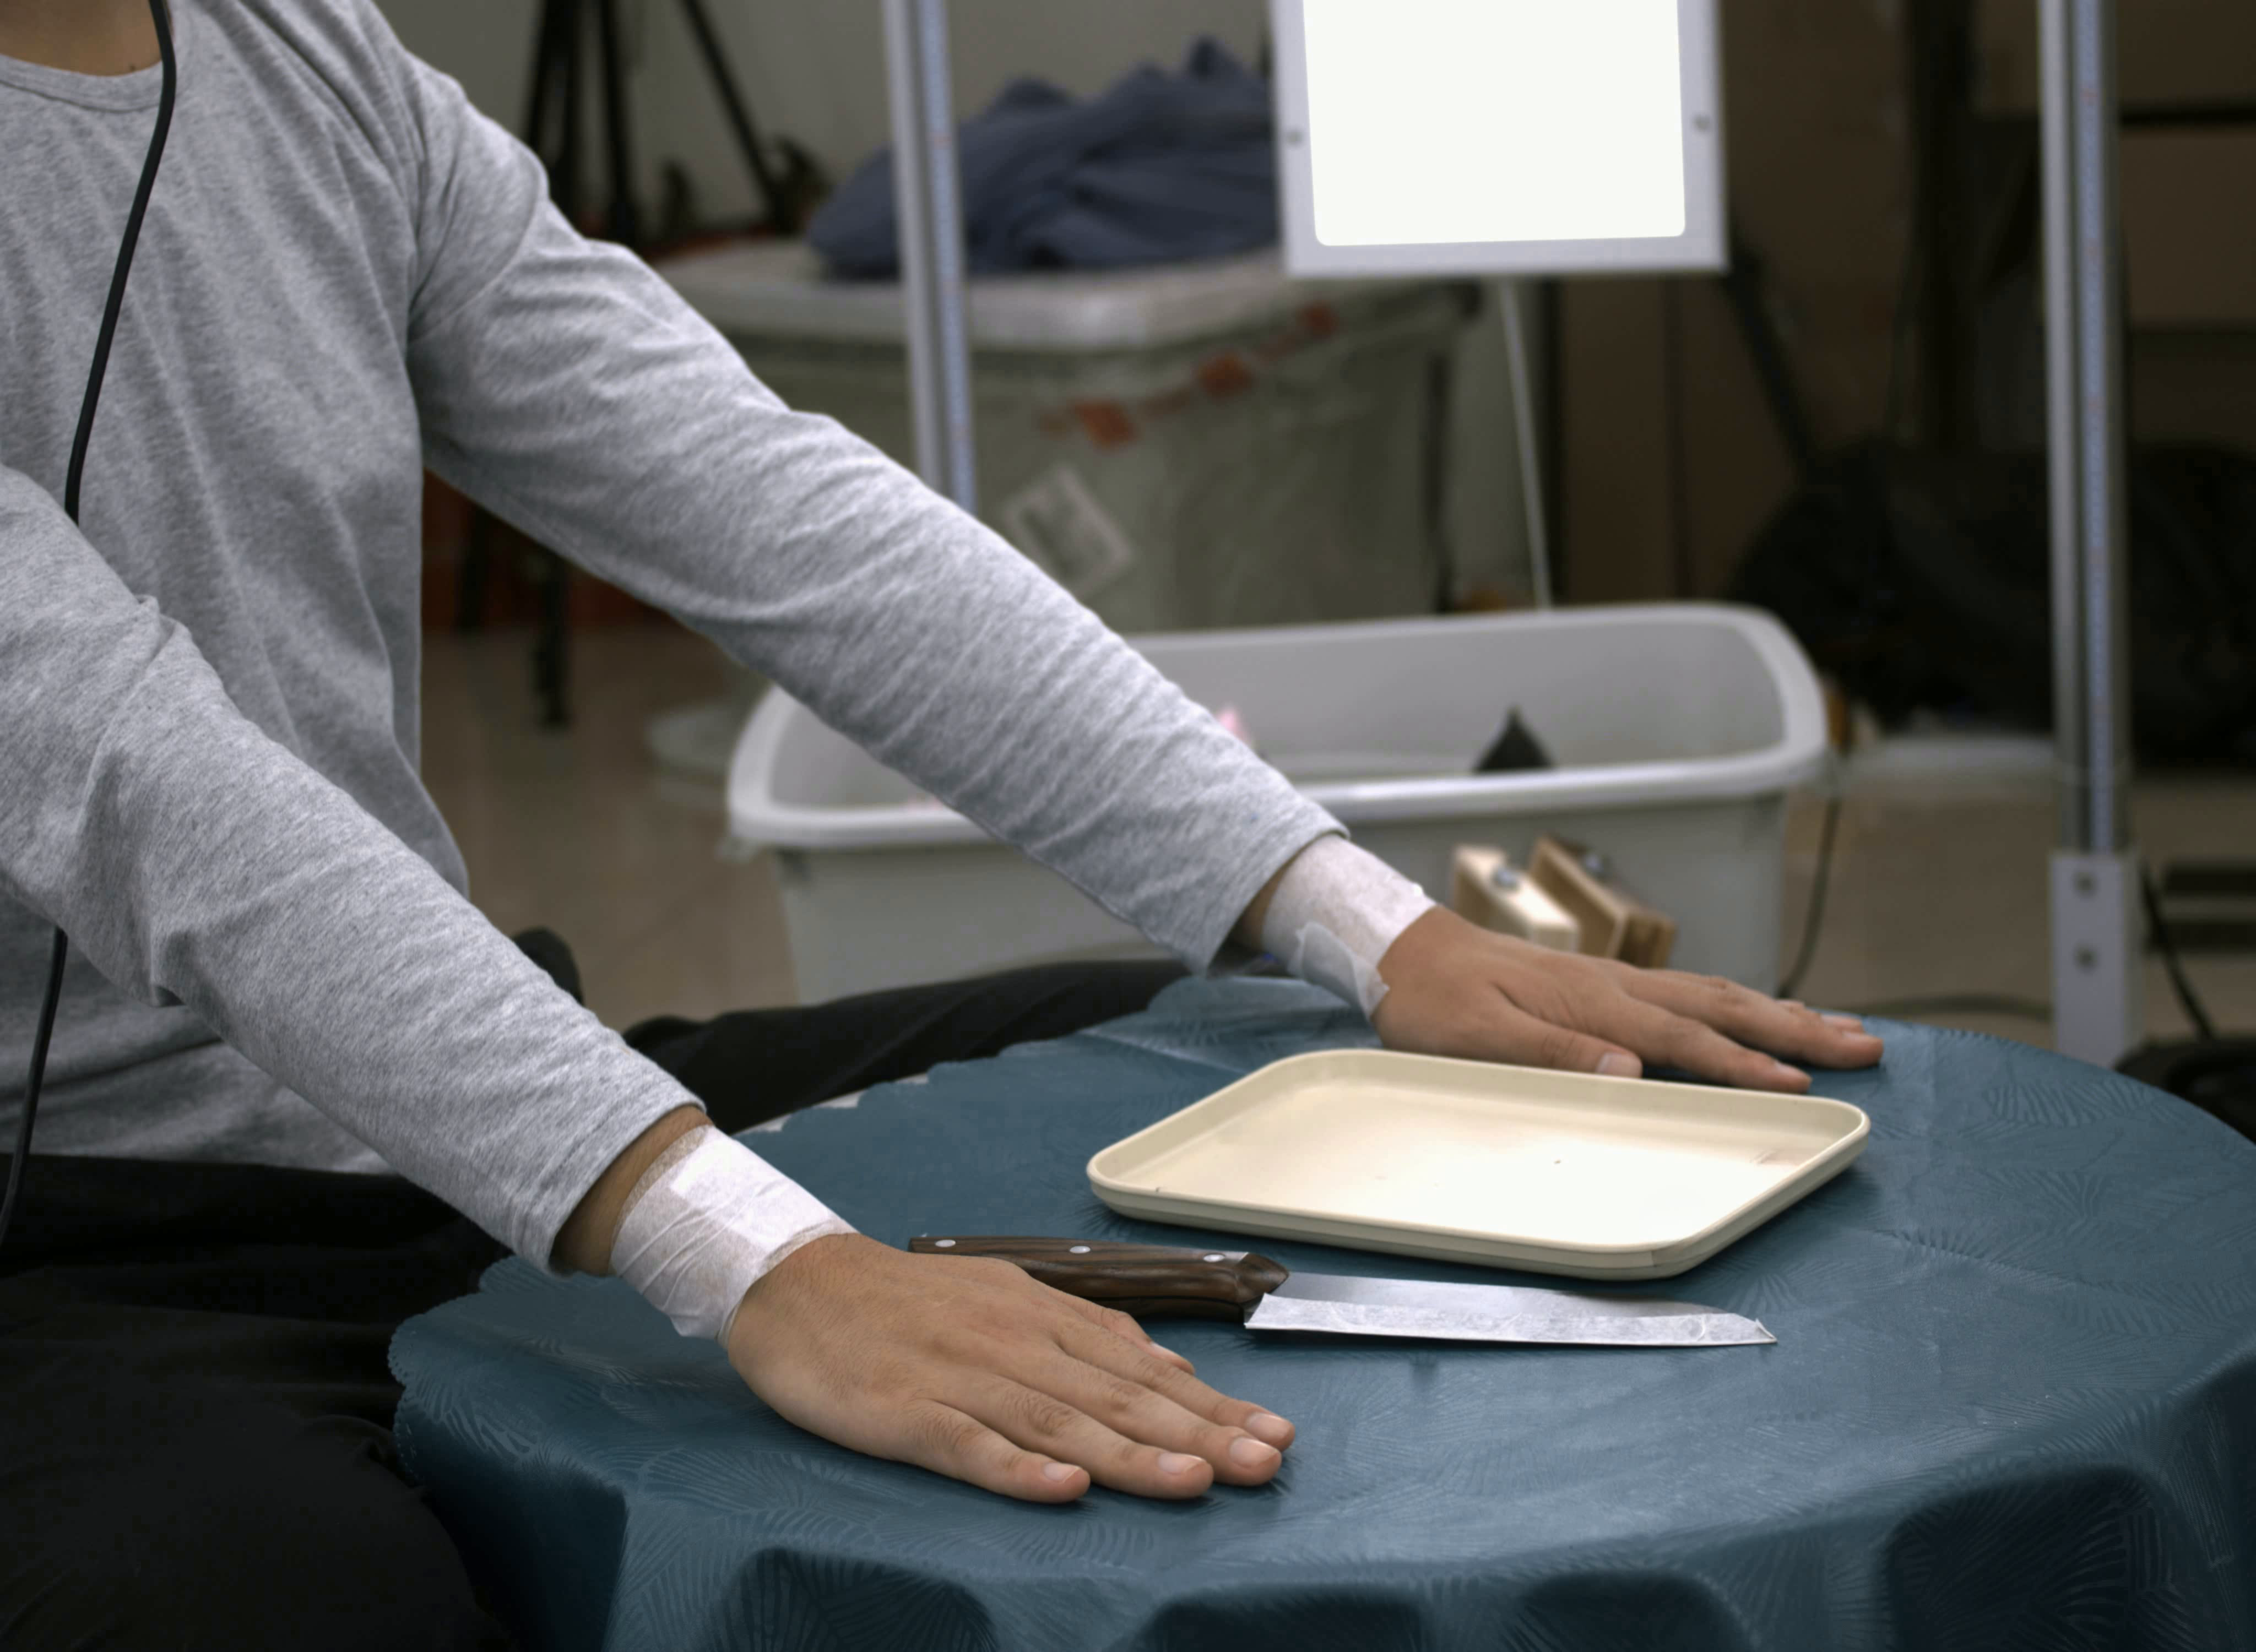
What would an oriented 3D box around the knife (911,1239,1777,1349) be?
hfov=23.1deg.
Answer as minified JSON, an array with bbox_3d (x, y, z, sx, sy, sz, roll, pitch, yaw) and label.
[{"bbox_3d":[0.065,0.151,1.748,0.293,0.020,0.049,2,21,20],"label":"knife"}]

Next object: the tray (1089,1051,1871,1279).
[{"bbox_3d":[0.120,0.115,1.871,0.244,0.017,0.167,5,16,36],"label":"tray"}]
